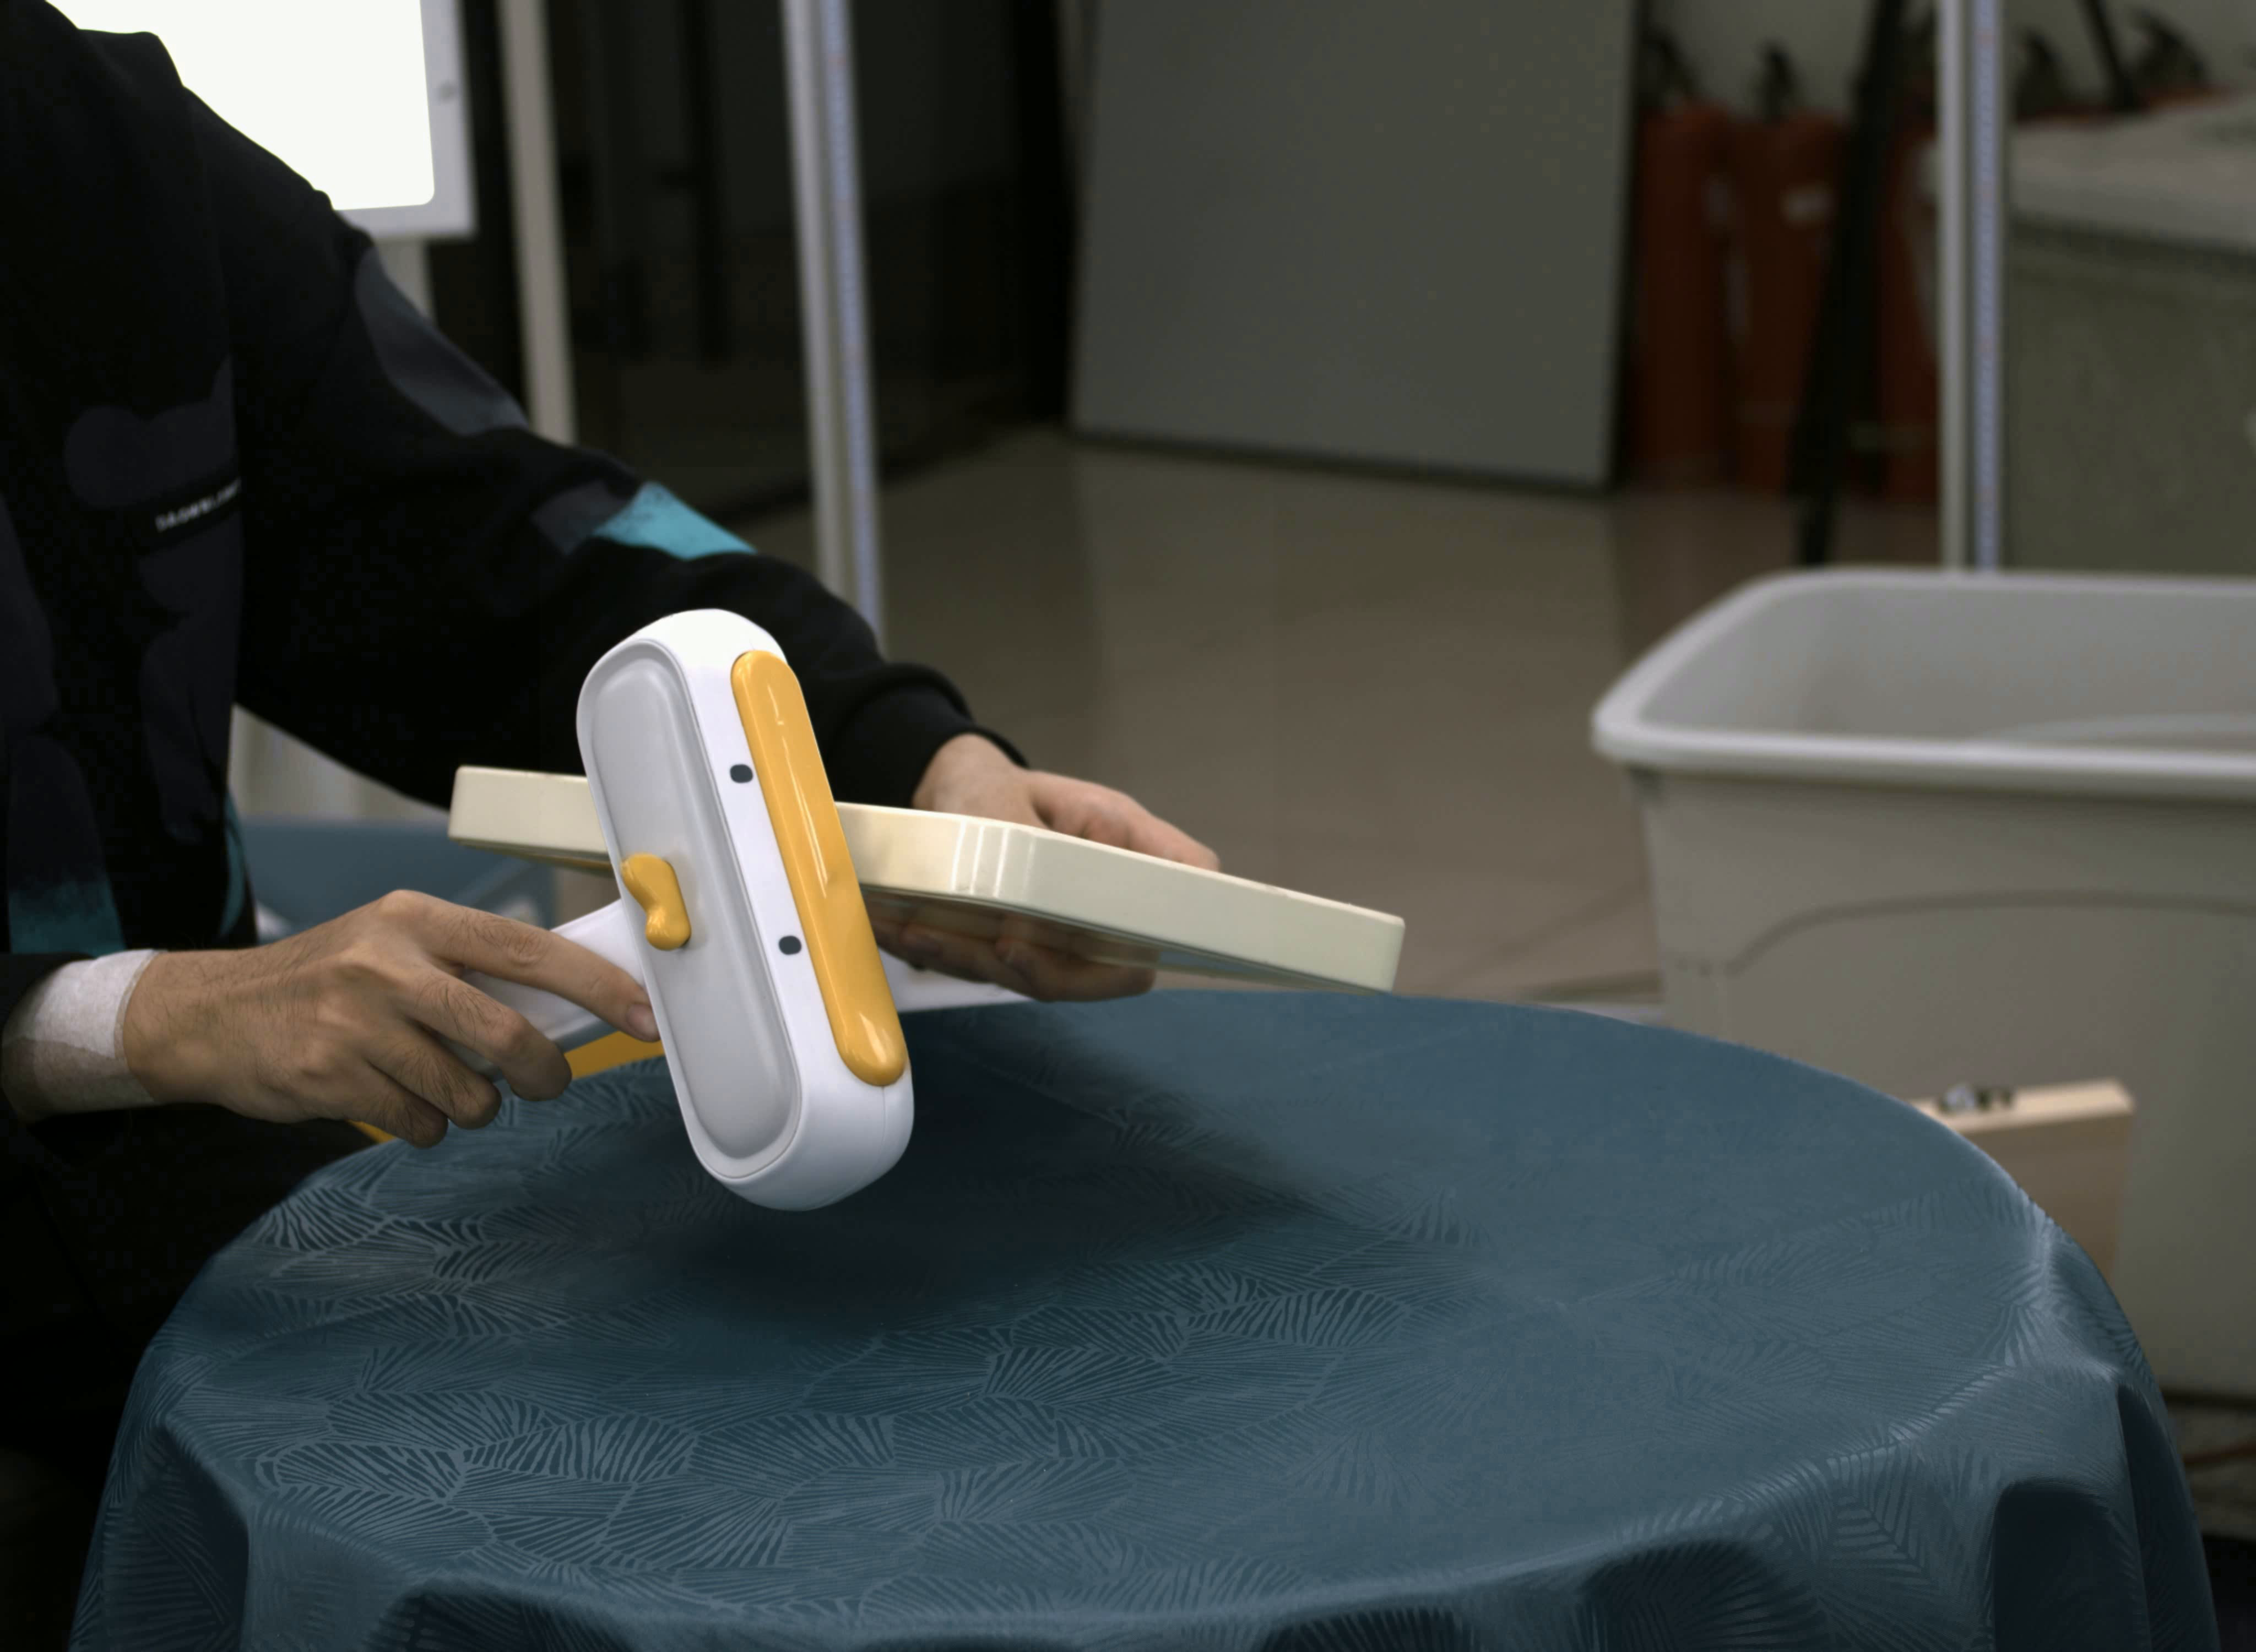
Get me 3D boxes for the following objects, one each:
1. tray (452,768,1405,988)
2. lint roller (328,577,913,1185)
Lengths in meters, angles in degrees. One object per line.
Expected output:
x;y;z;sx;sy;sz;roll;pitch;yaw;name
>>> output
-0.071;0.017;1.788;0.187;0.028;0.303;13;-6;-40;tray
-0.167;0.044;1.687;0.193;0.195;0.073;-33;-19;30;lint roller
